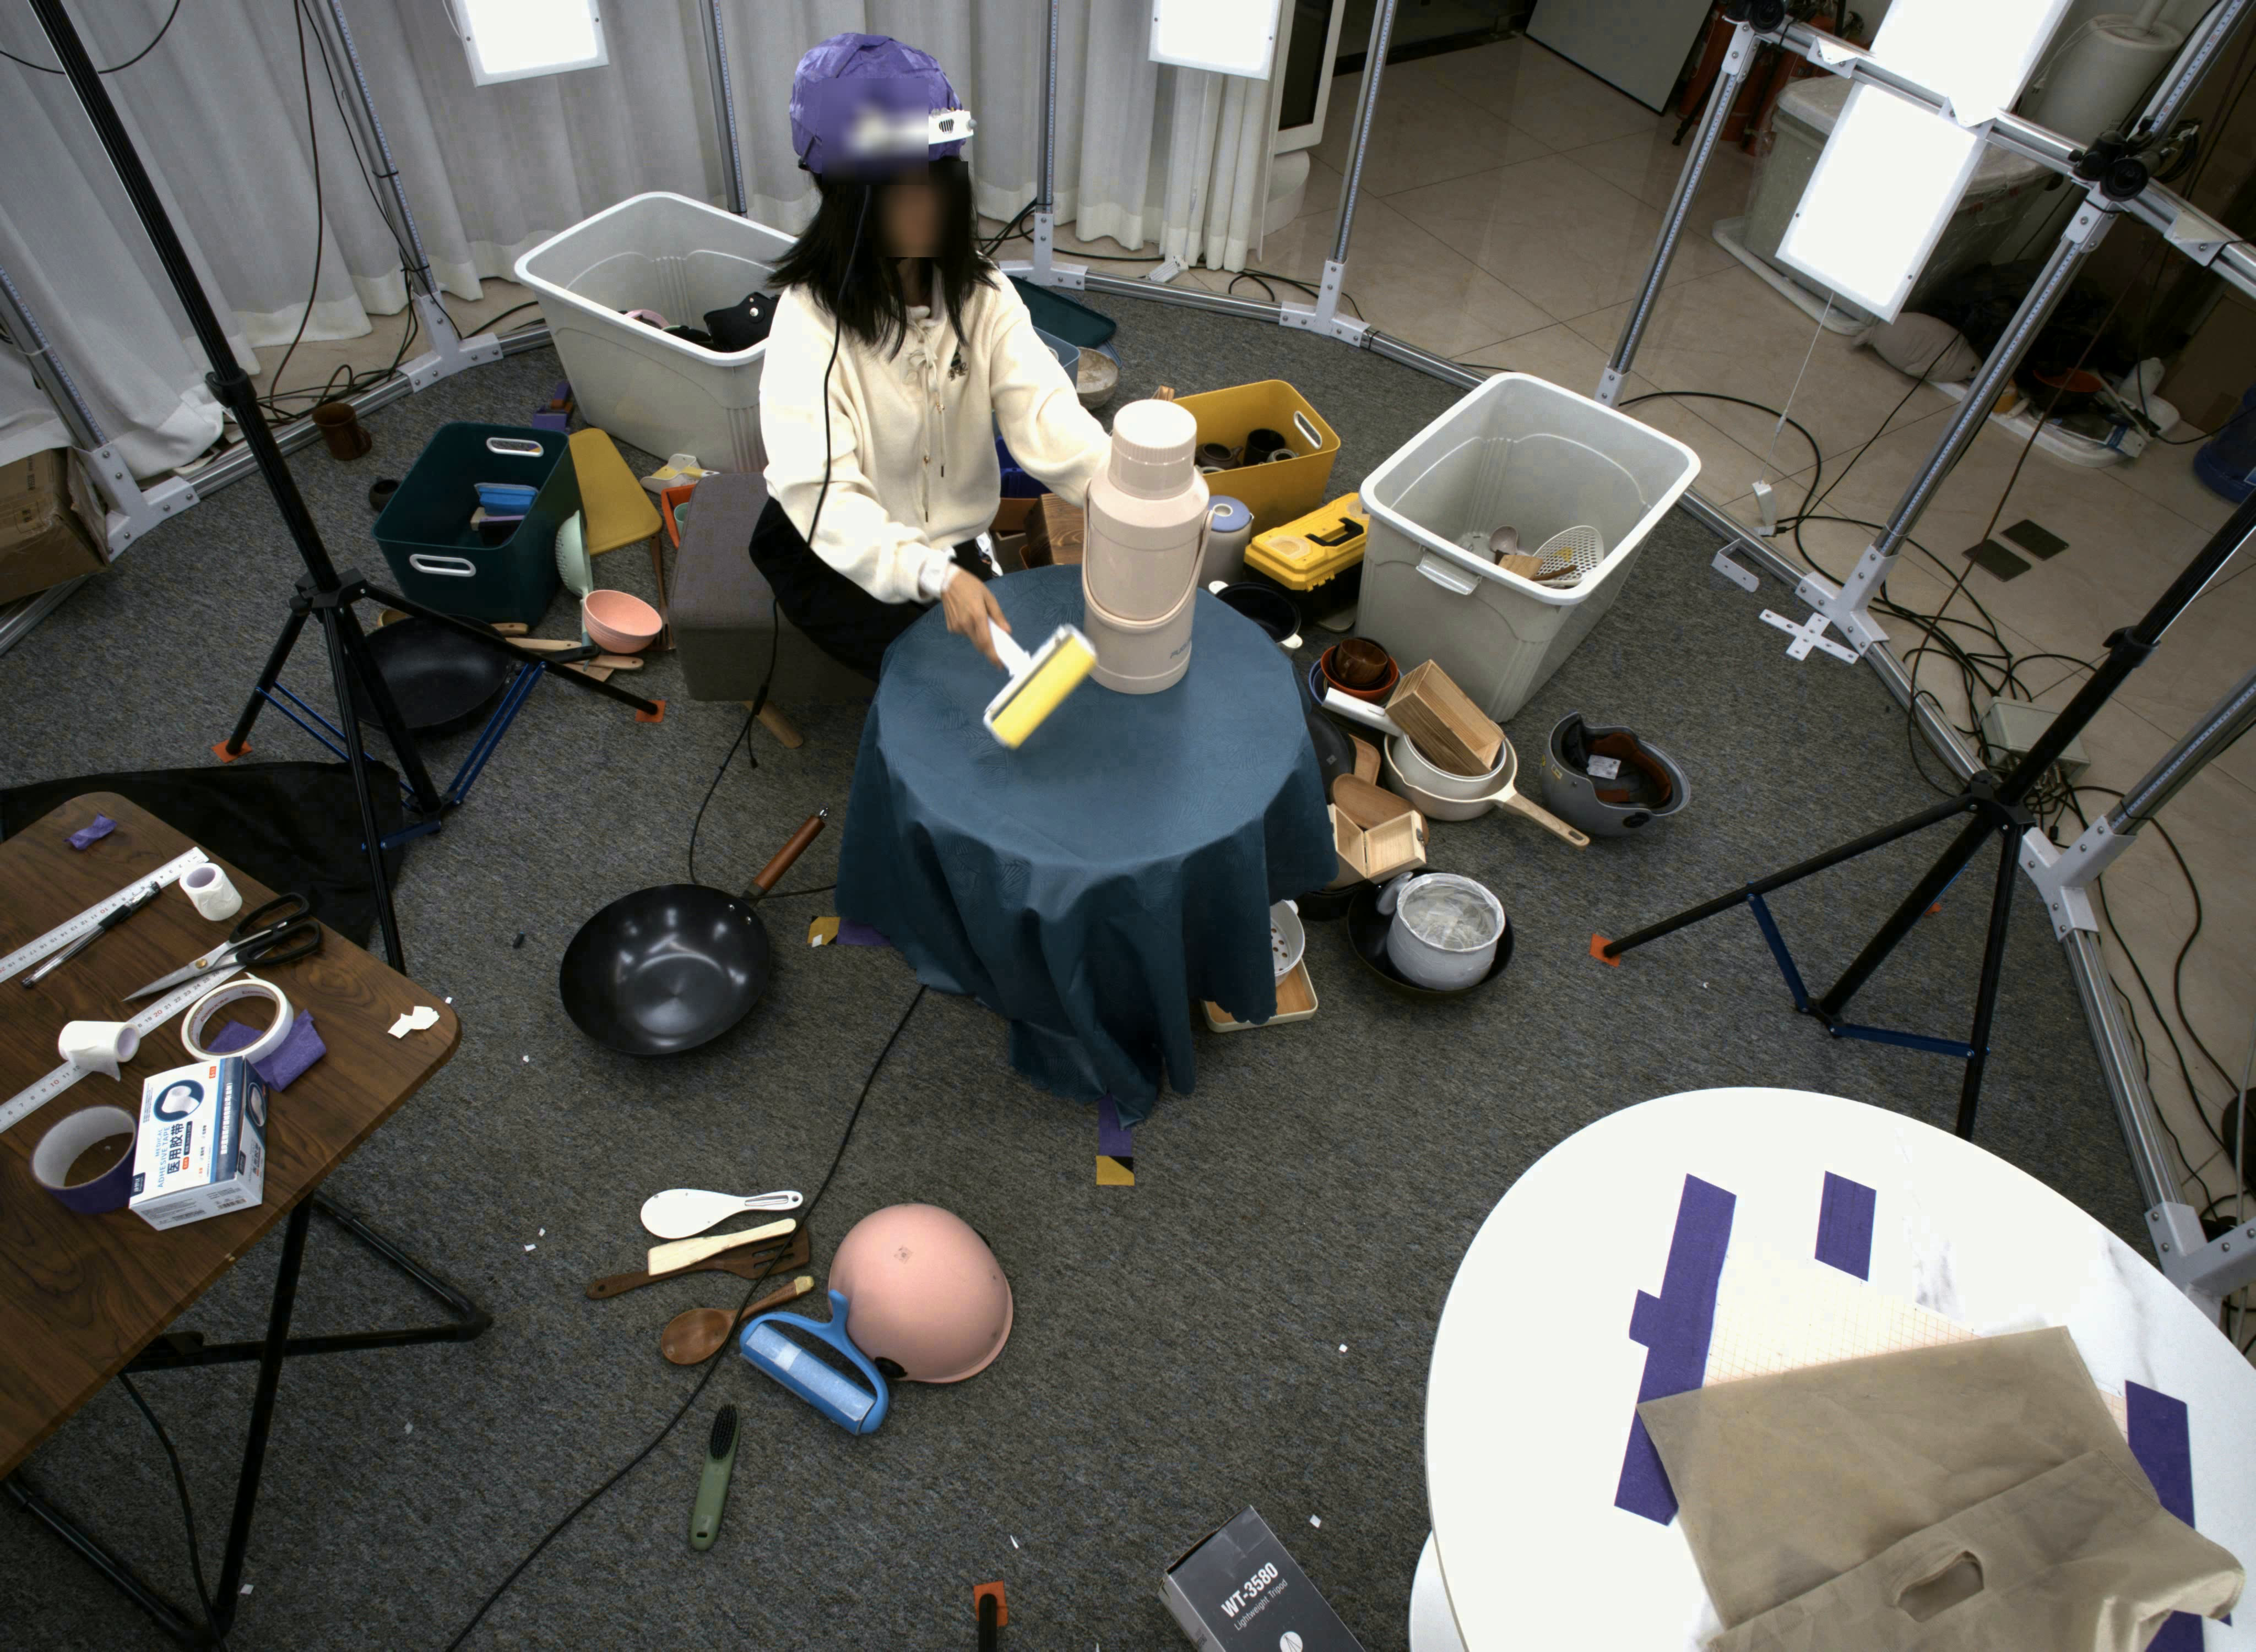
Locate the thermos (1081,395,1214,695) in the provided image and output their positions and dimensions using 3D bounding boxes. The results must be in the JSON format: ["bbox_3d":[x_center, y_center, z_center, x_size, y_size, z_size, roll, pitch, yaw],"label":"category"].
[{"bbox_3d":[0.028,-0.382,1.748,0.176,0.396,0.211,17,50,11],"label":"thermos"}]

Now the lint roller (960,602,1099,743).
[{"bbox_3d":[-0.159,-0.233,1.713,0.193,0.173,0.051,43,12,11],"label":"lint roller"}]
